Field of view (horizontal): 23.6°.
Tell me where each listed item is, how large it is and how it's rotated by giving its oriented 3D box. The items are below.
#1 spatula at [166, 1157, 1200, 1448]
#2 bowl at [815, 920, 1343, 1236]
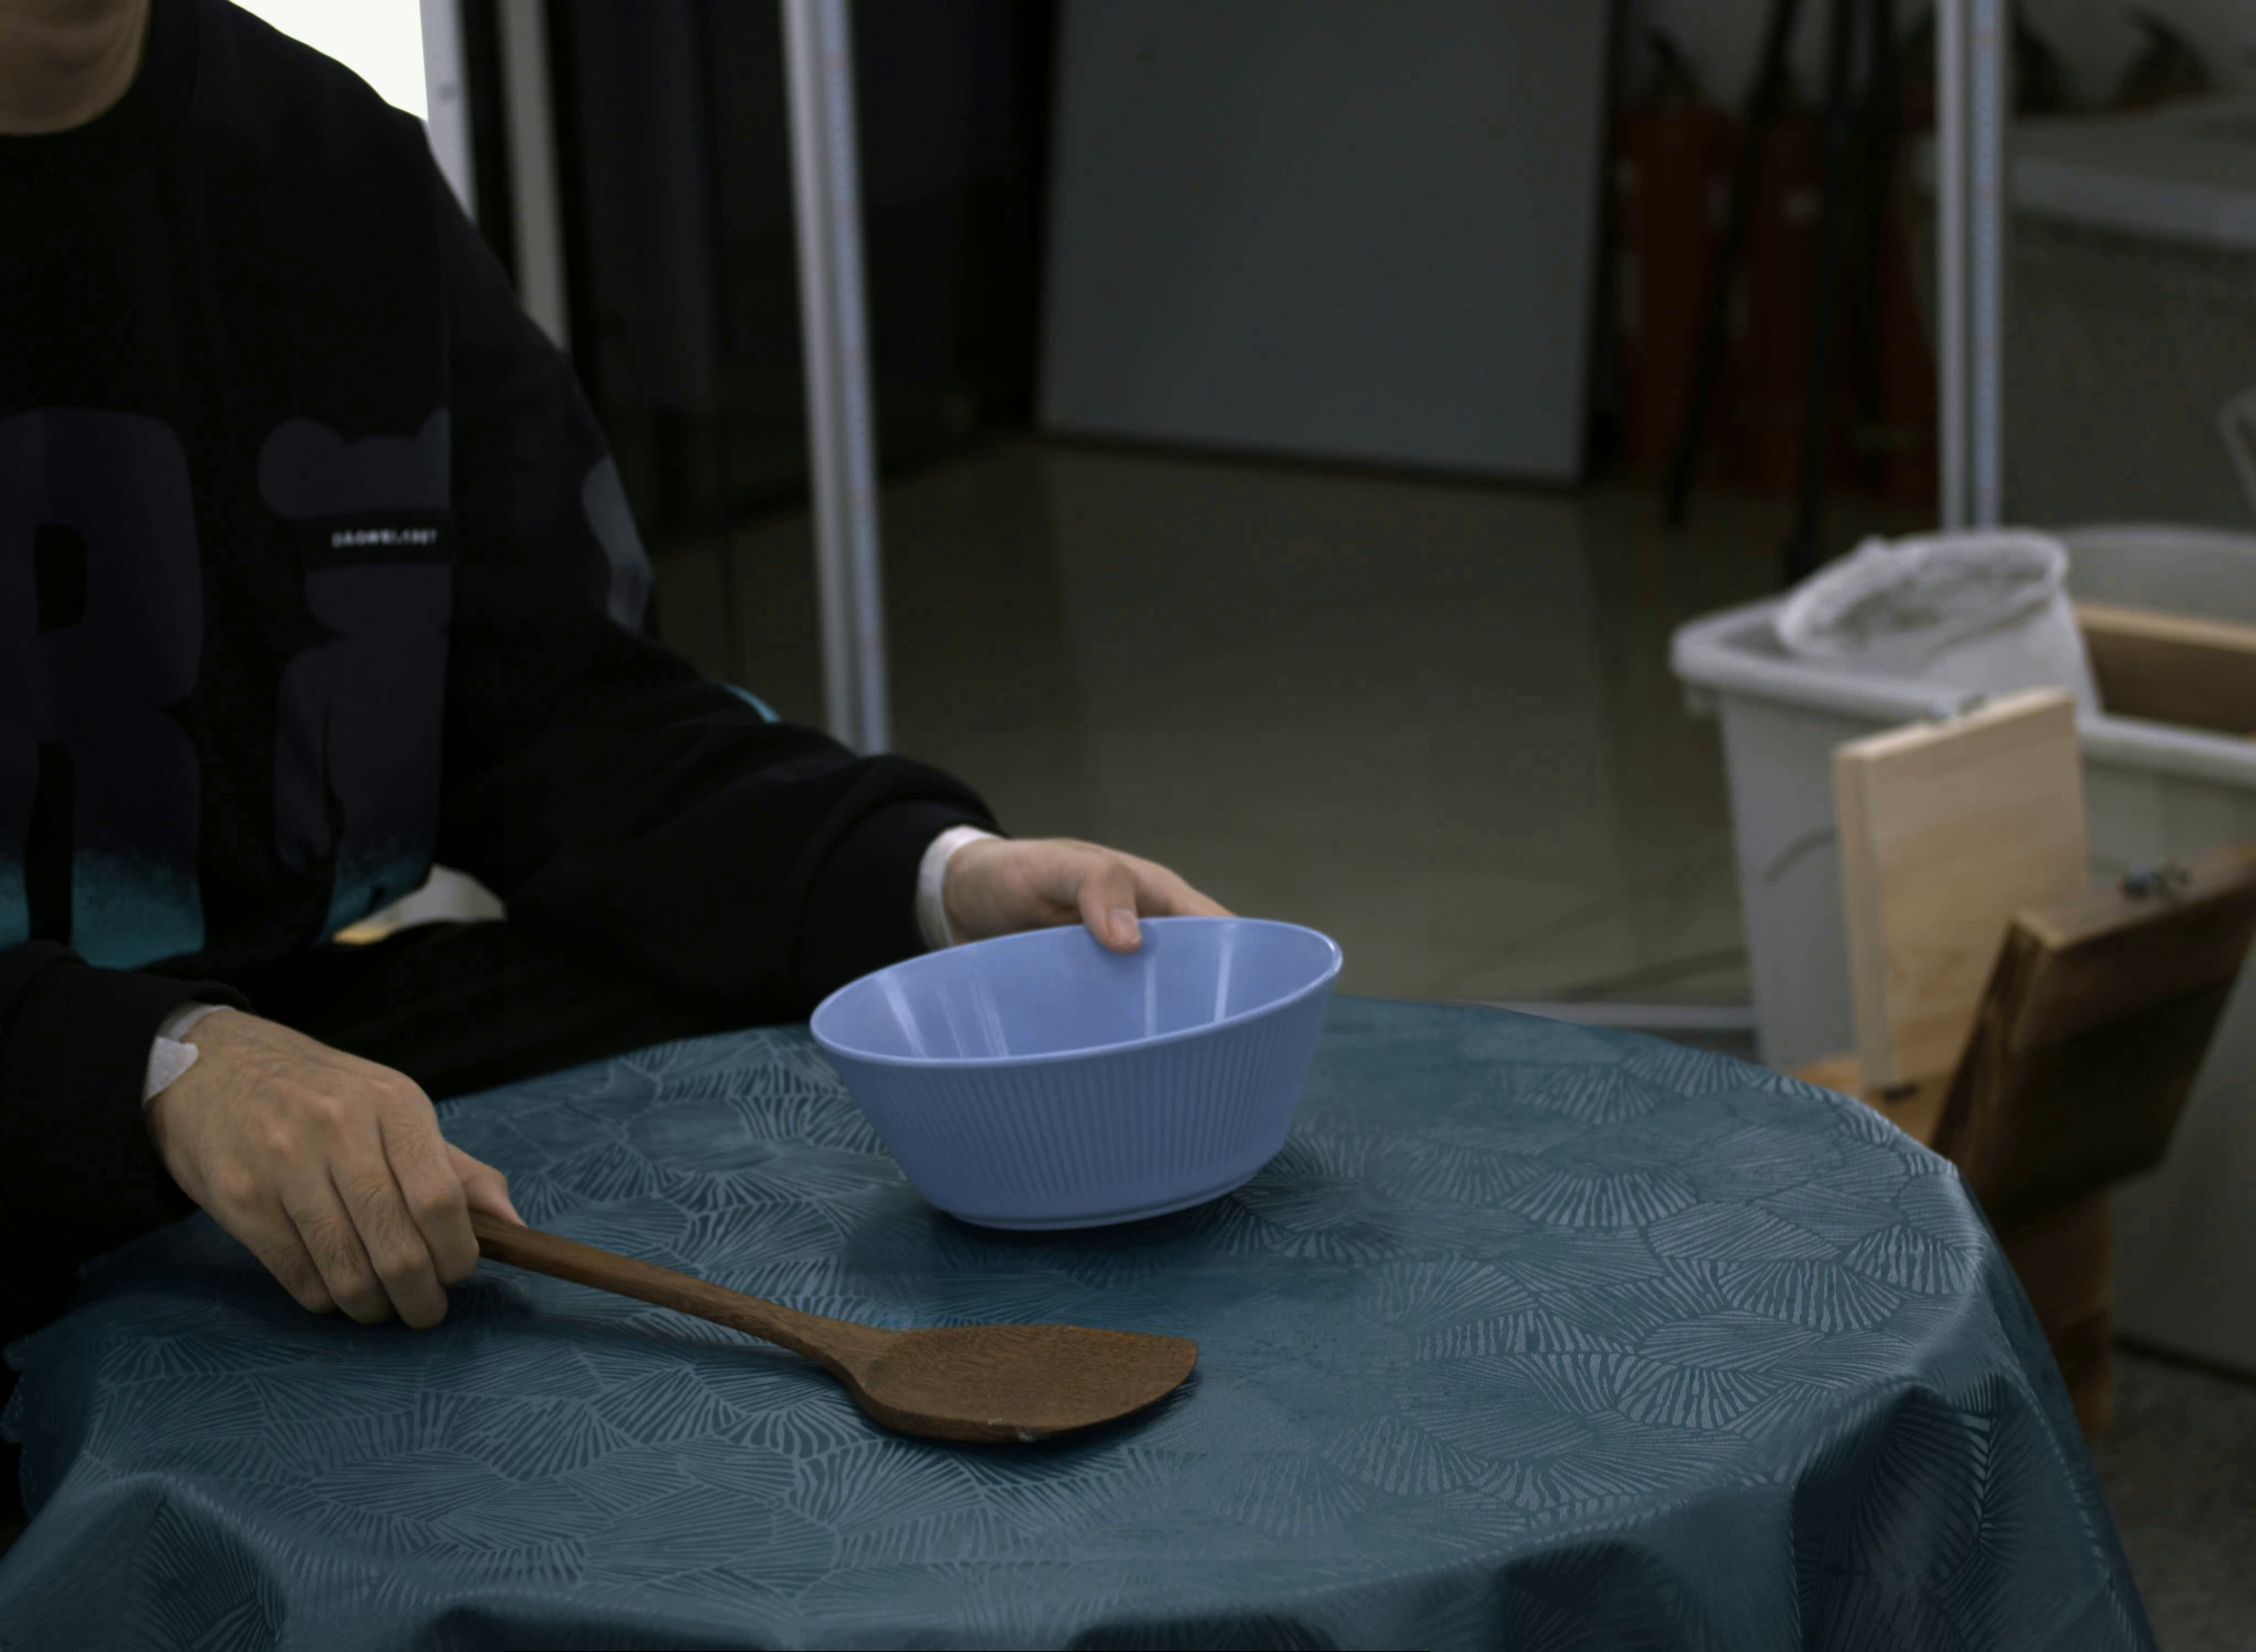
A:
[{"bbox_3d":[-0.152,0.142,1.664,0.388,0.016,0.094,11,18,33],"label":"spatula"},{"bbox_3d":[-0.011,0.084,1.753,0.174,0.071,0.176,-9,10,1],"label":"bowl"}]
